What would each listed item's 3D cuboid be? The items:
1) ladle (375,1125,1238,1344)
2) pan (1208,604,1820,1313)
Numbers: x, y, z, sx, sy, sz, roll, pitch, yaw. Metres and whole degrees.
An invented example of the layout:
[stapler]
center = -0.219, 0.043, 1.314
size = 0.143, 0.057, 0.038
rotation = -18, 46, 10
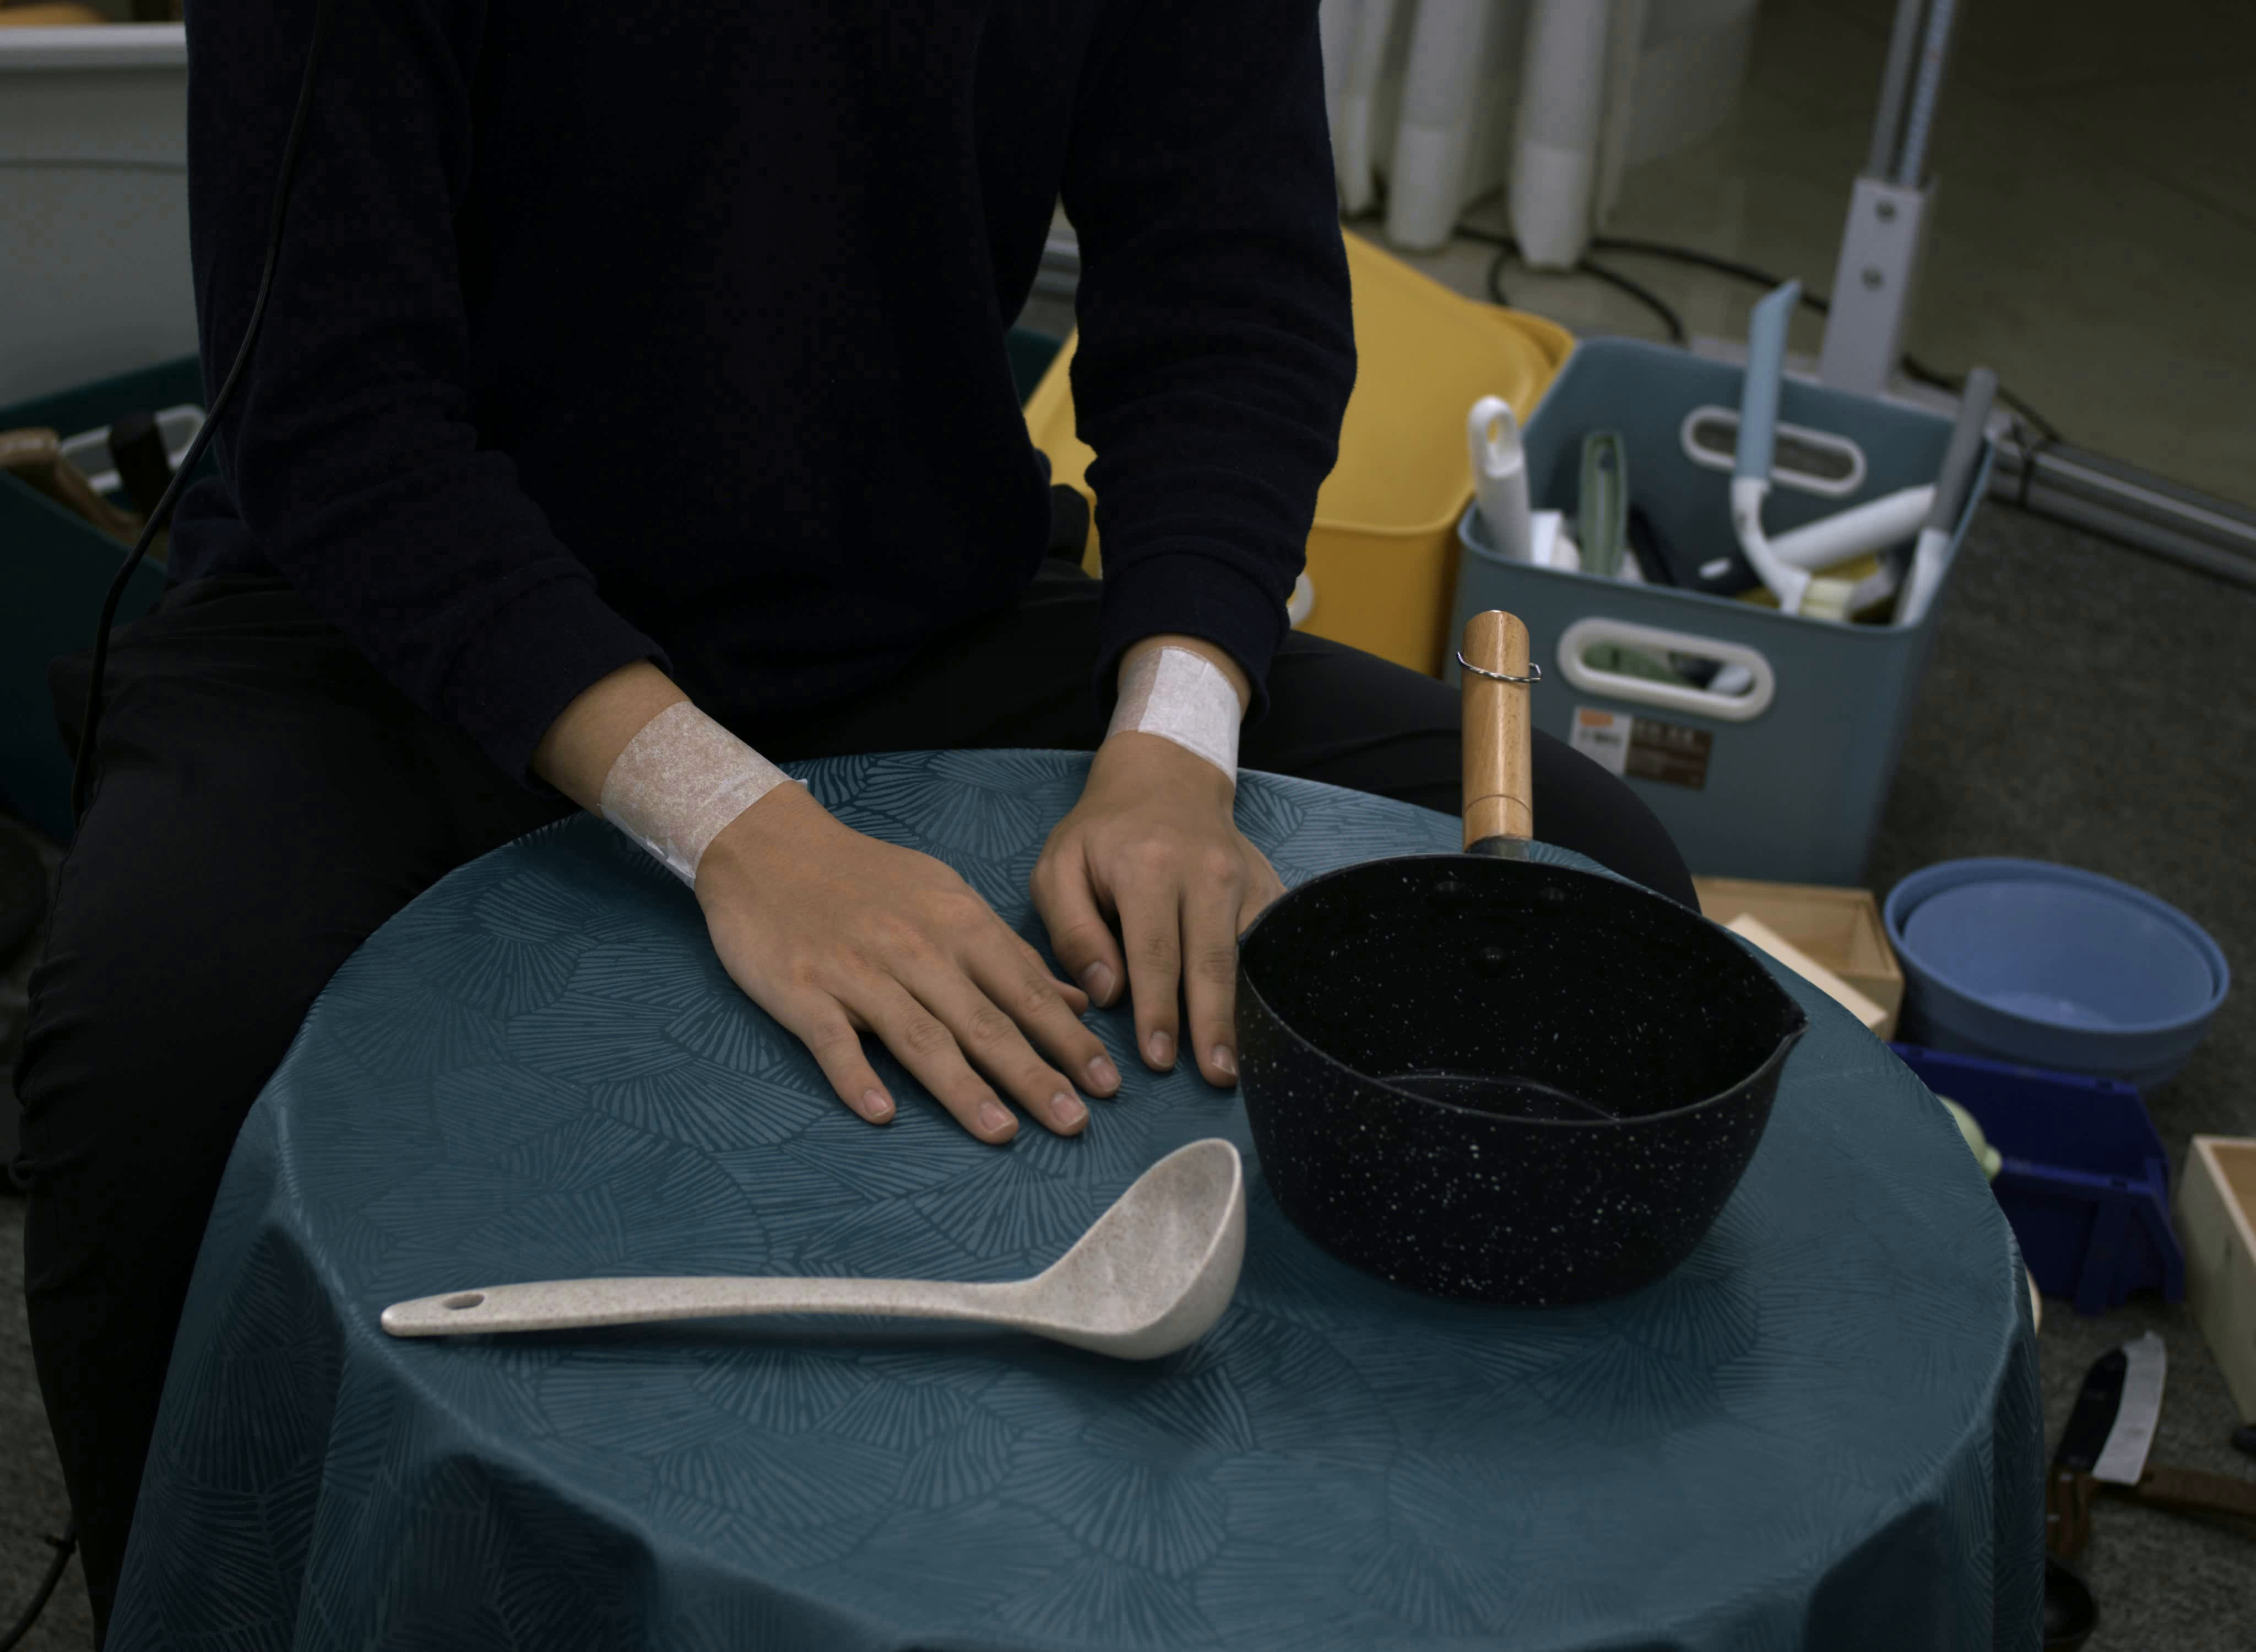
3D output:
[ladle]
center = -0.101, 0.130, 1.690
size = 0.273, 0.069, 0.090
rotation = 0, 13, -7
[pan]
center = 0.128, 0.042, 1.871
size = 0.207, 0.108, 0.345
rotation = 4, 28, -2
